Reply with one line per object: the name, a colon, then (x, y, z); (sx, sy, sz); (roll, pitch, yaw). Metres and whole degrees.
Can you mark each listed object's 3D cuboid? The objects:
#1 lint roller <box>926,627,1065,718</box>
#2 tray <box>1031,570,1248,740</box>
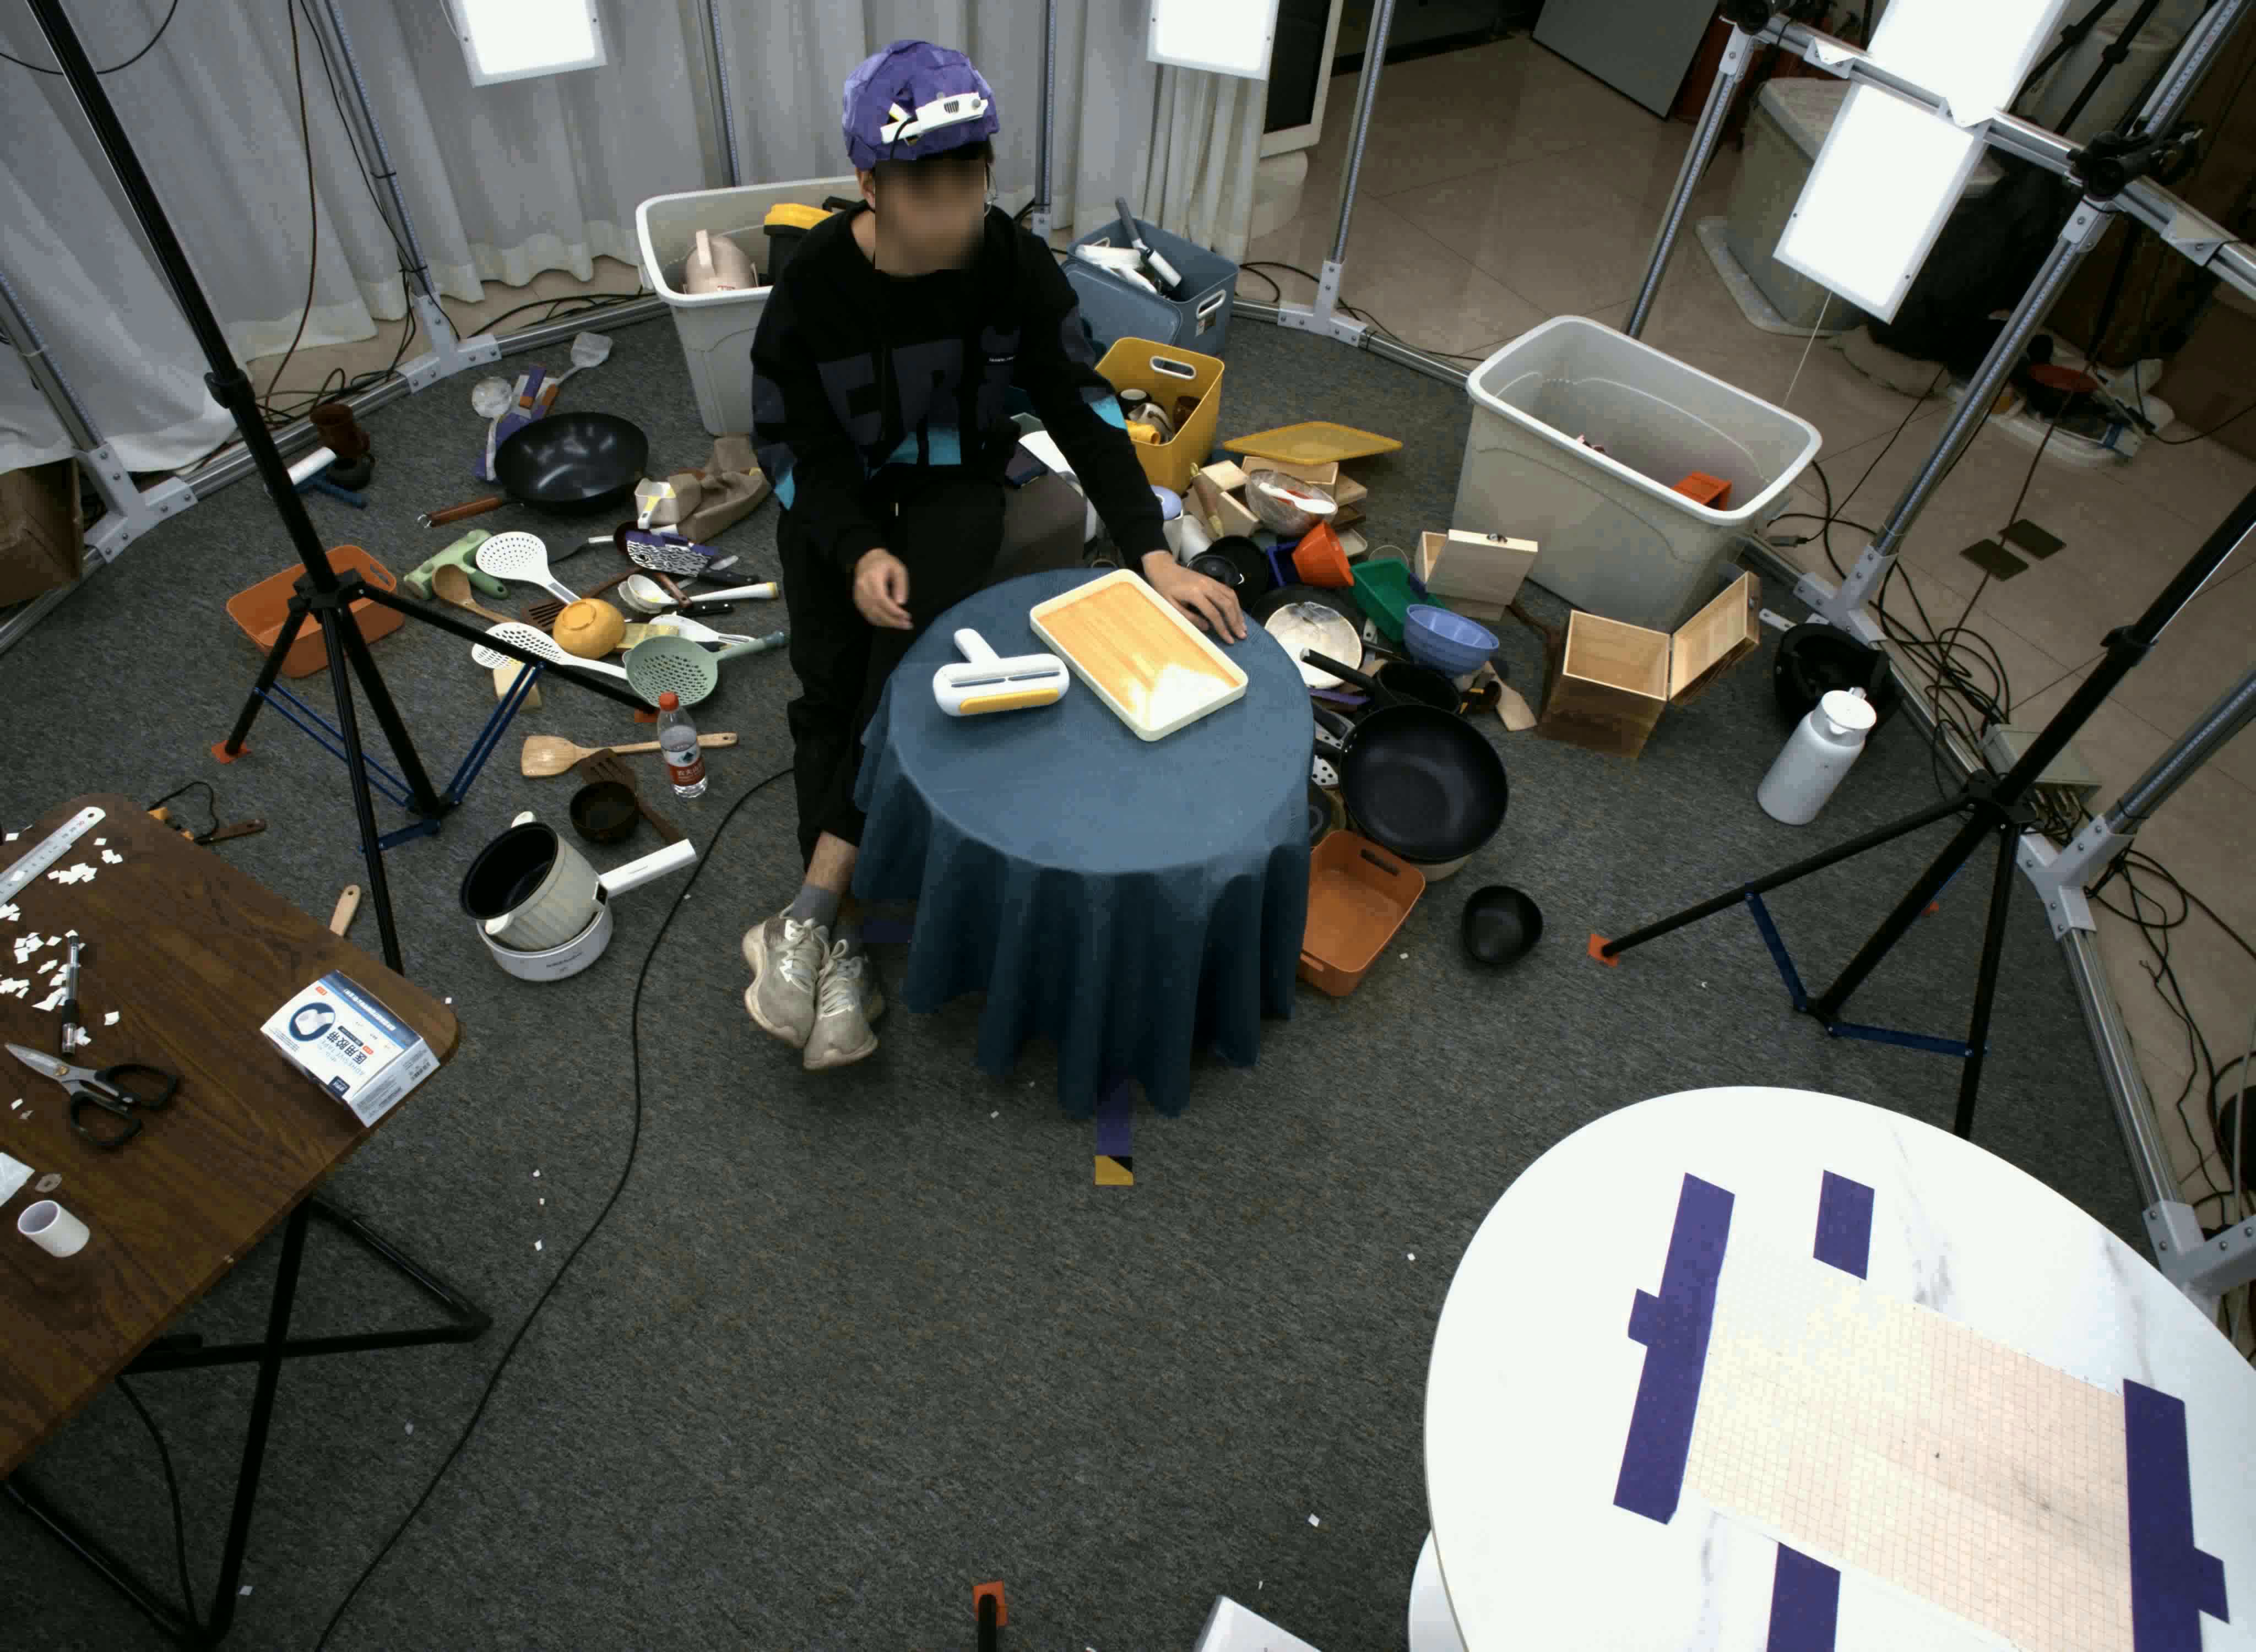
lint roller: (-0.201, -0.231, 1.812); (0.193, 0.072, 0.197); (-10, 49, -19)
tray: (0.014, -0.255, 1.873); (0.192, 0.027, 0.306); (-27, 56, -25)
